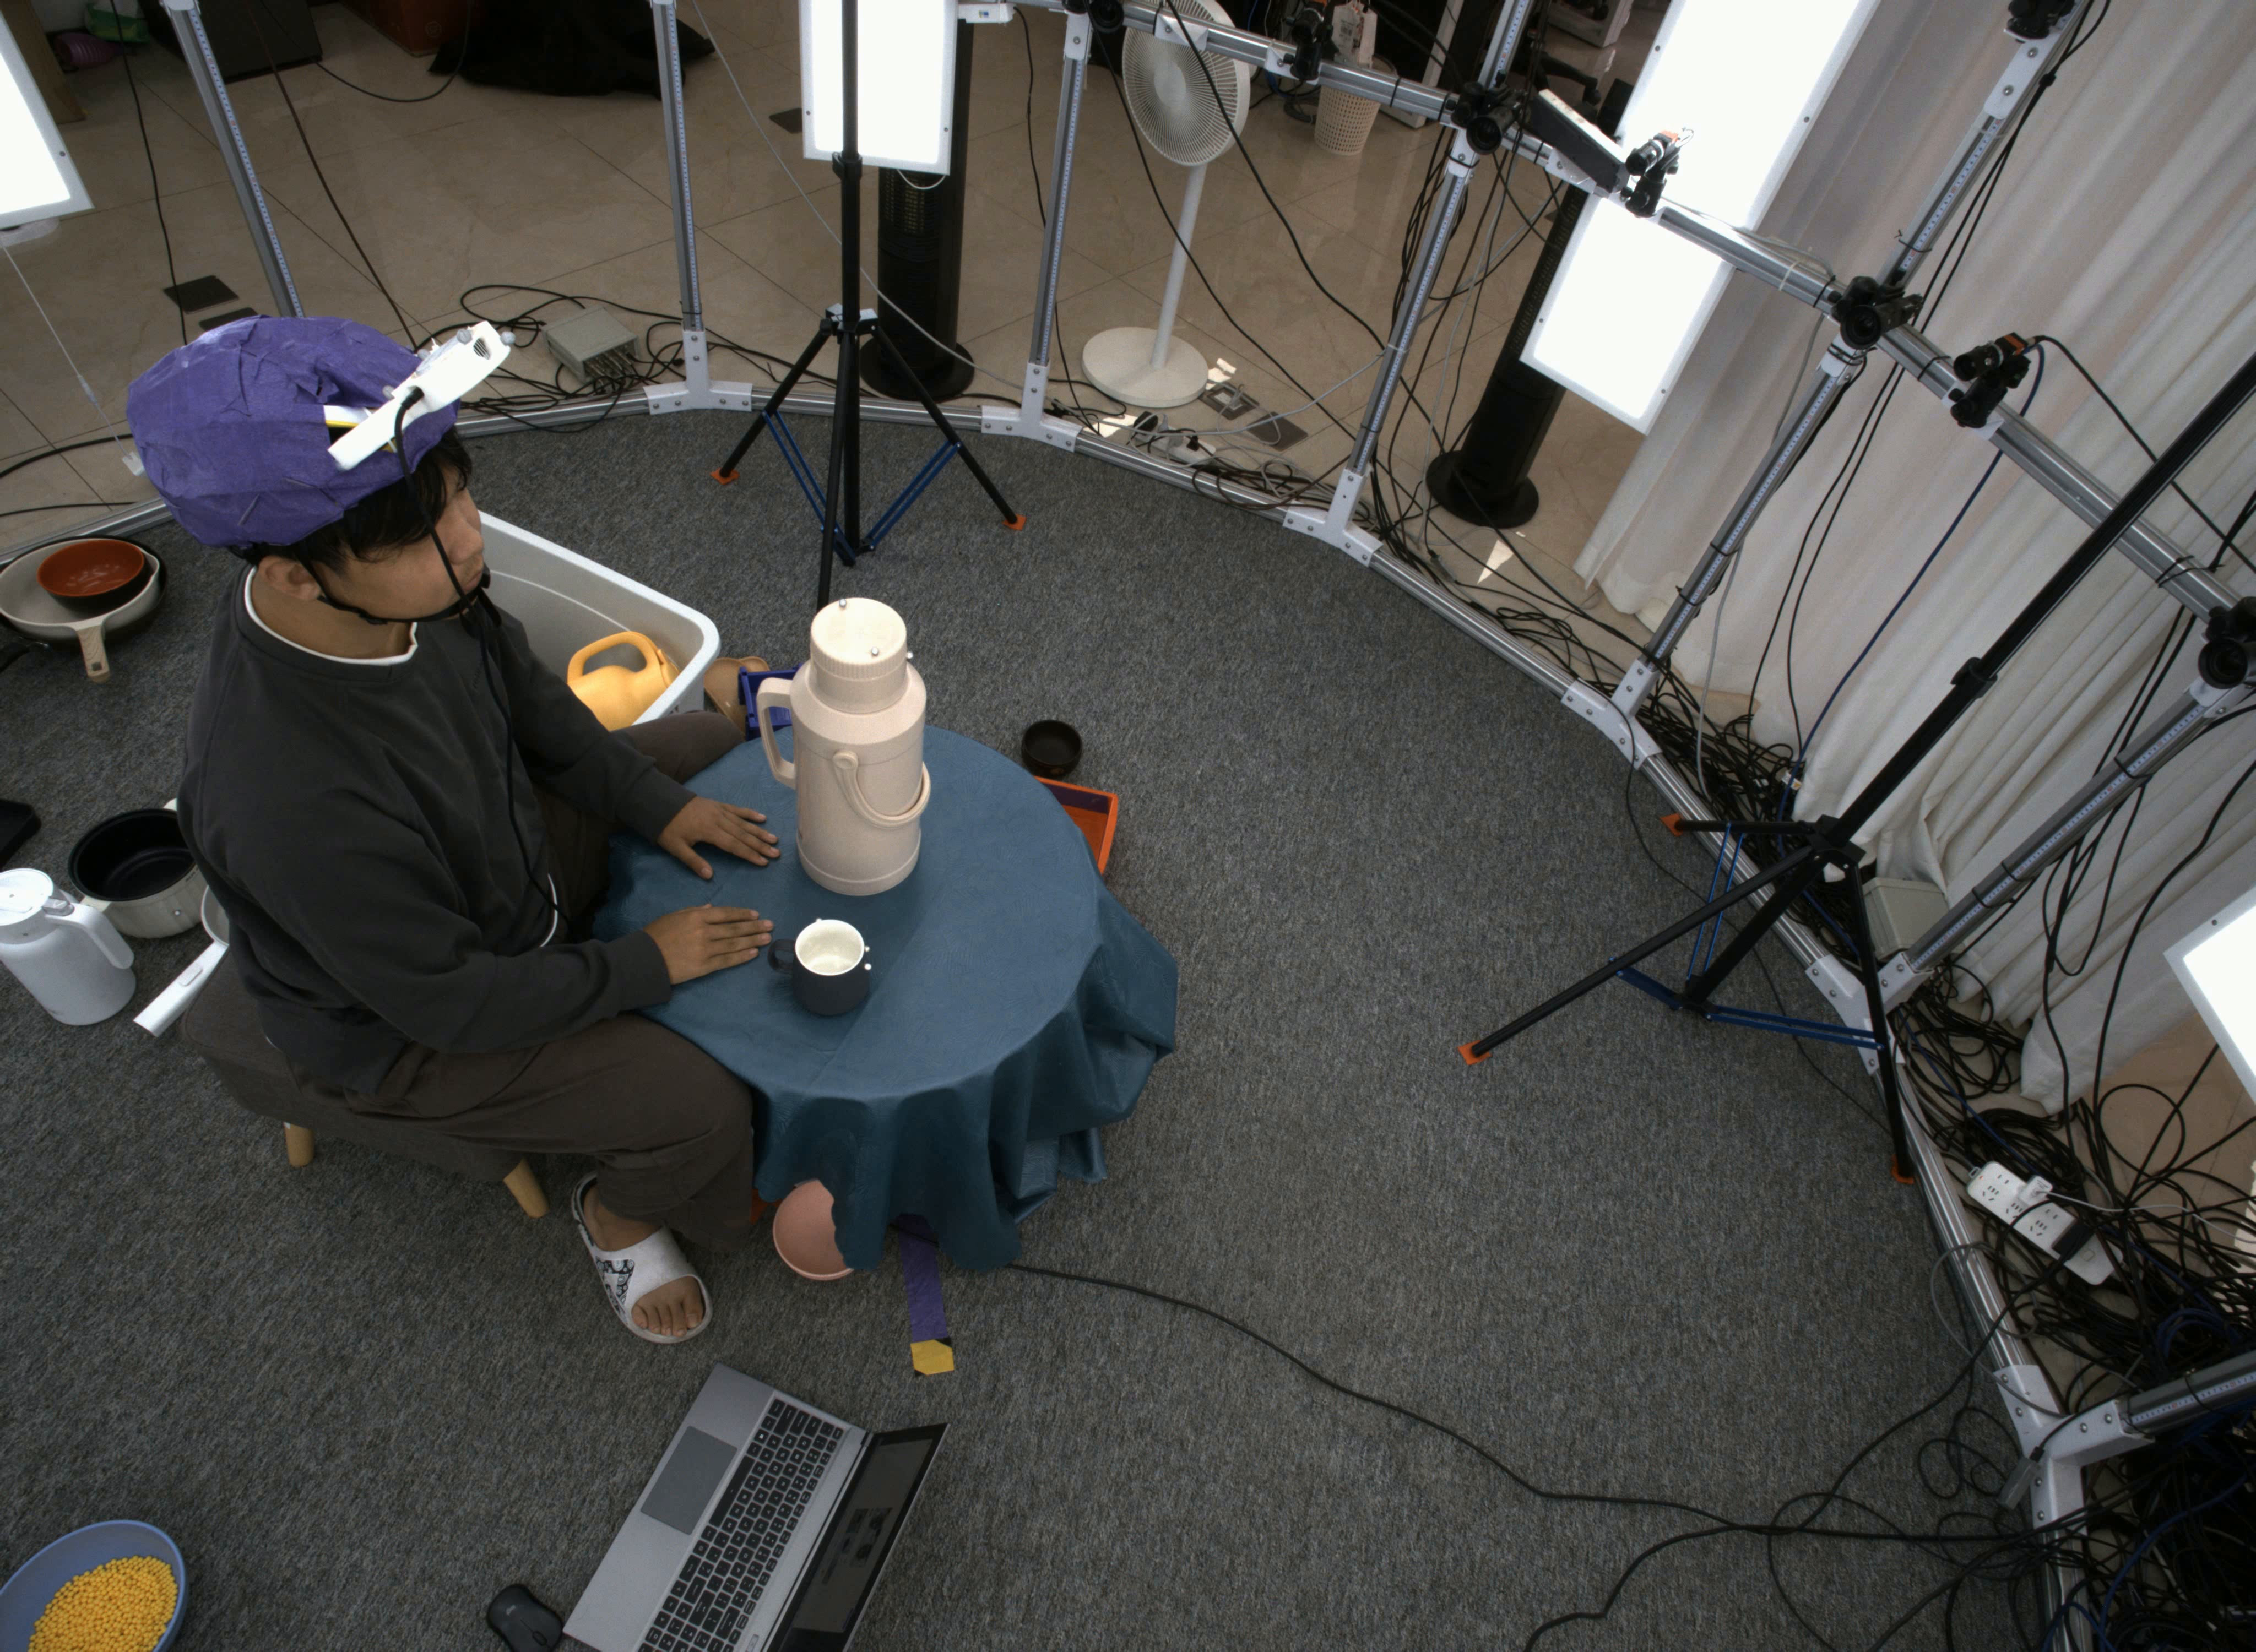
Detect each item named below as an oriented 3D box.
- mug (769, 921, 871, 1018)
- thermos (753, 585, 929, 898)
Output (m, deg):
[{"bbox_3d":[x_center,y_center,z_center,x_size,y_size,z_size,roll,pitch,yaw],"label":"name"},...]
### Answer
[{"bbox_3d":[-0.369,0.165,1.552,0.122,0.092,0.092,14,51,-2],"label":"mug"},{"bbox_3d":[-0.340,-0.099,1.559,0.206,0.415,0.172,7,51,-7],"label":"thermos"}]
